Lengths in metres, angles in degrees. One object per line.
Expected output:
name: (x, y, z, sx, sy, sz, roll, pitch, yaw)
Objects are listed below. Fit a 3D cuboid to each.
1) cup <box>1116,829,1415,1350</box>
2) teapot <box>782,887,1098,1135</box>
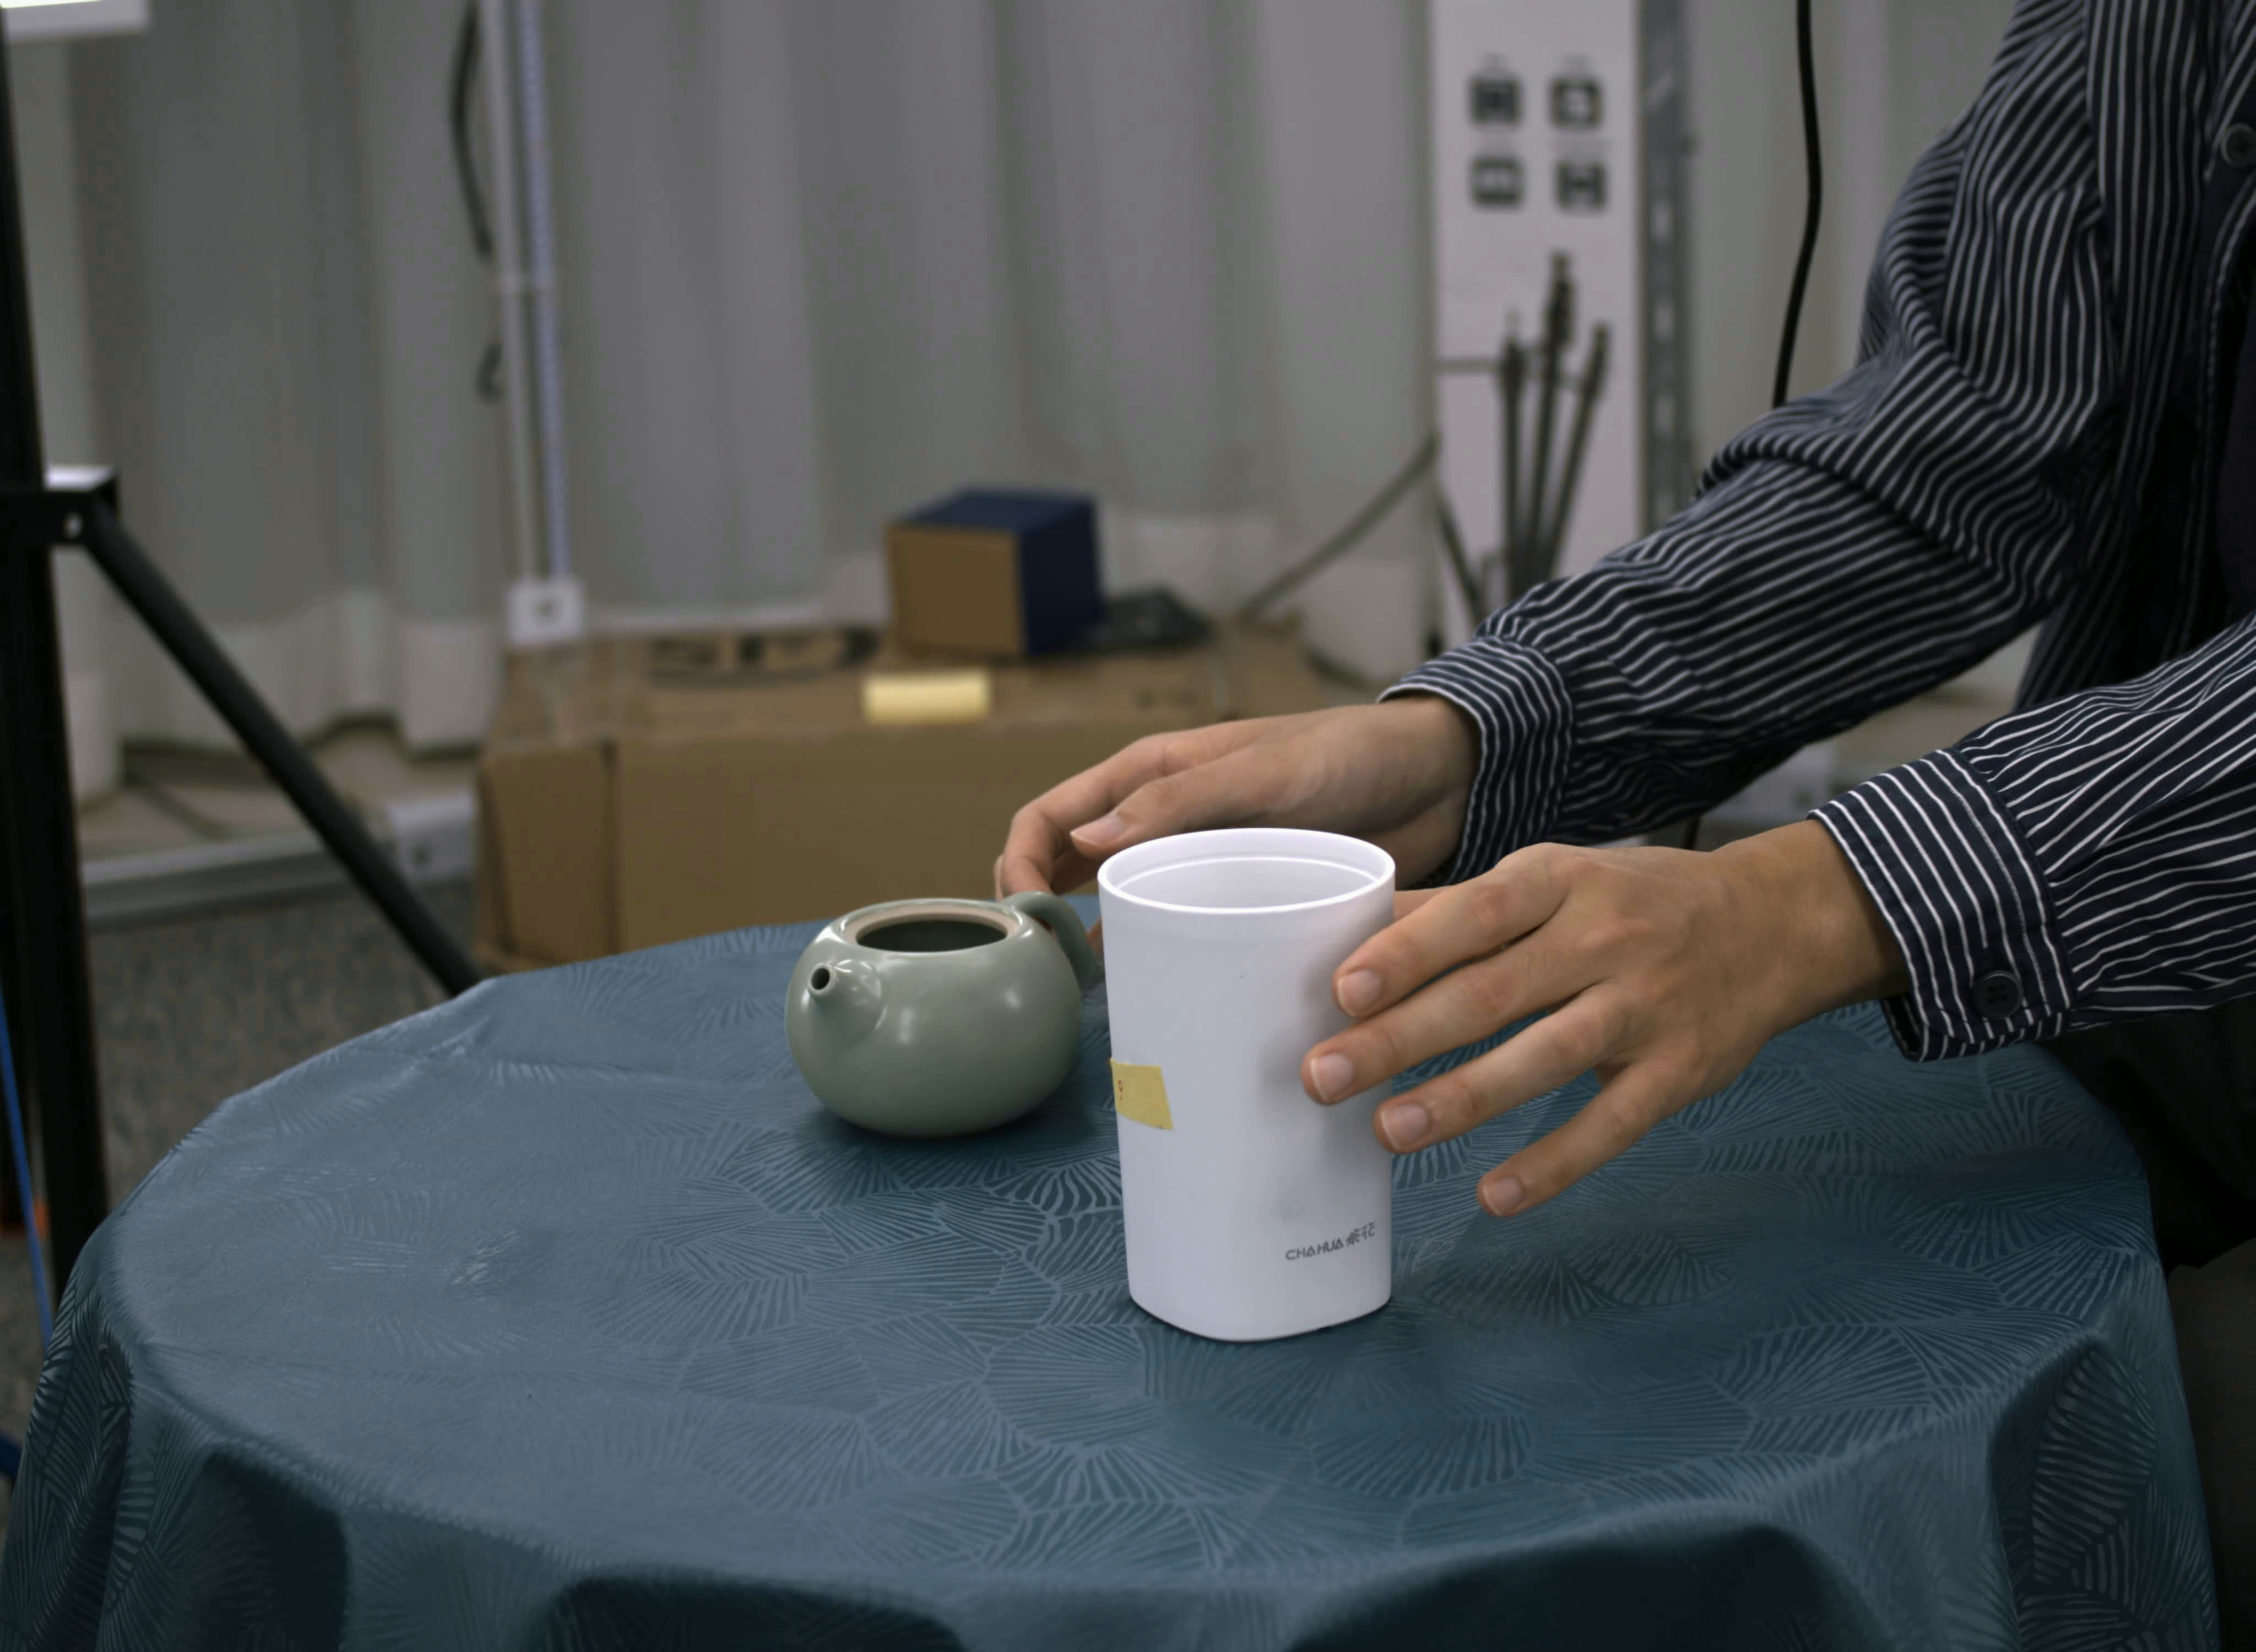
cup: (0.039, 0.072, 1.446, 0.081, 0.125, 0.082, -2, 15, -1)
teapot: (-0.054, 0.056, 1.644, 0.093, 0.061, 0.125, 10, 20, 43)
